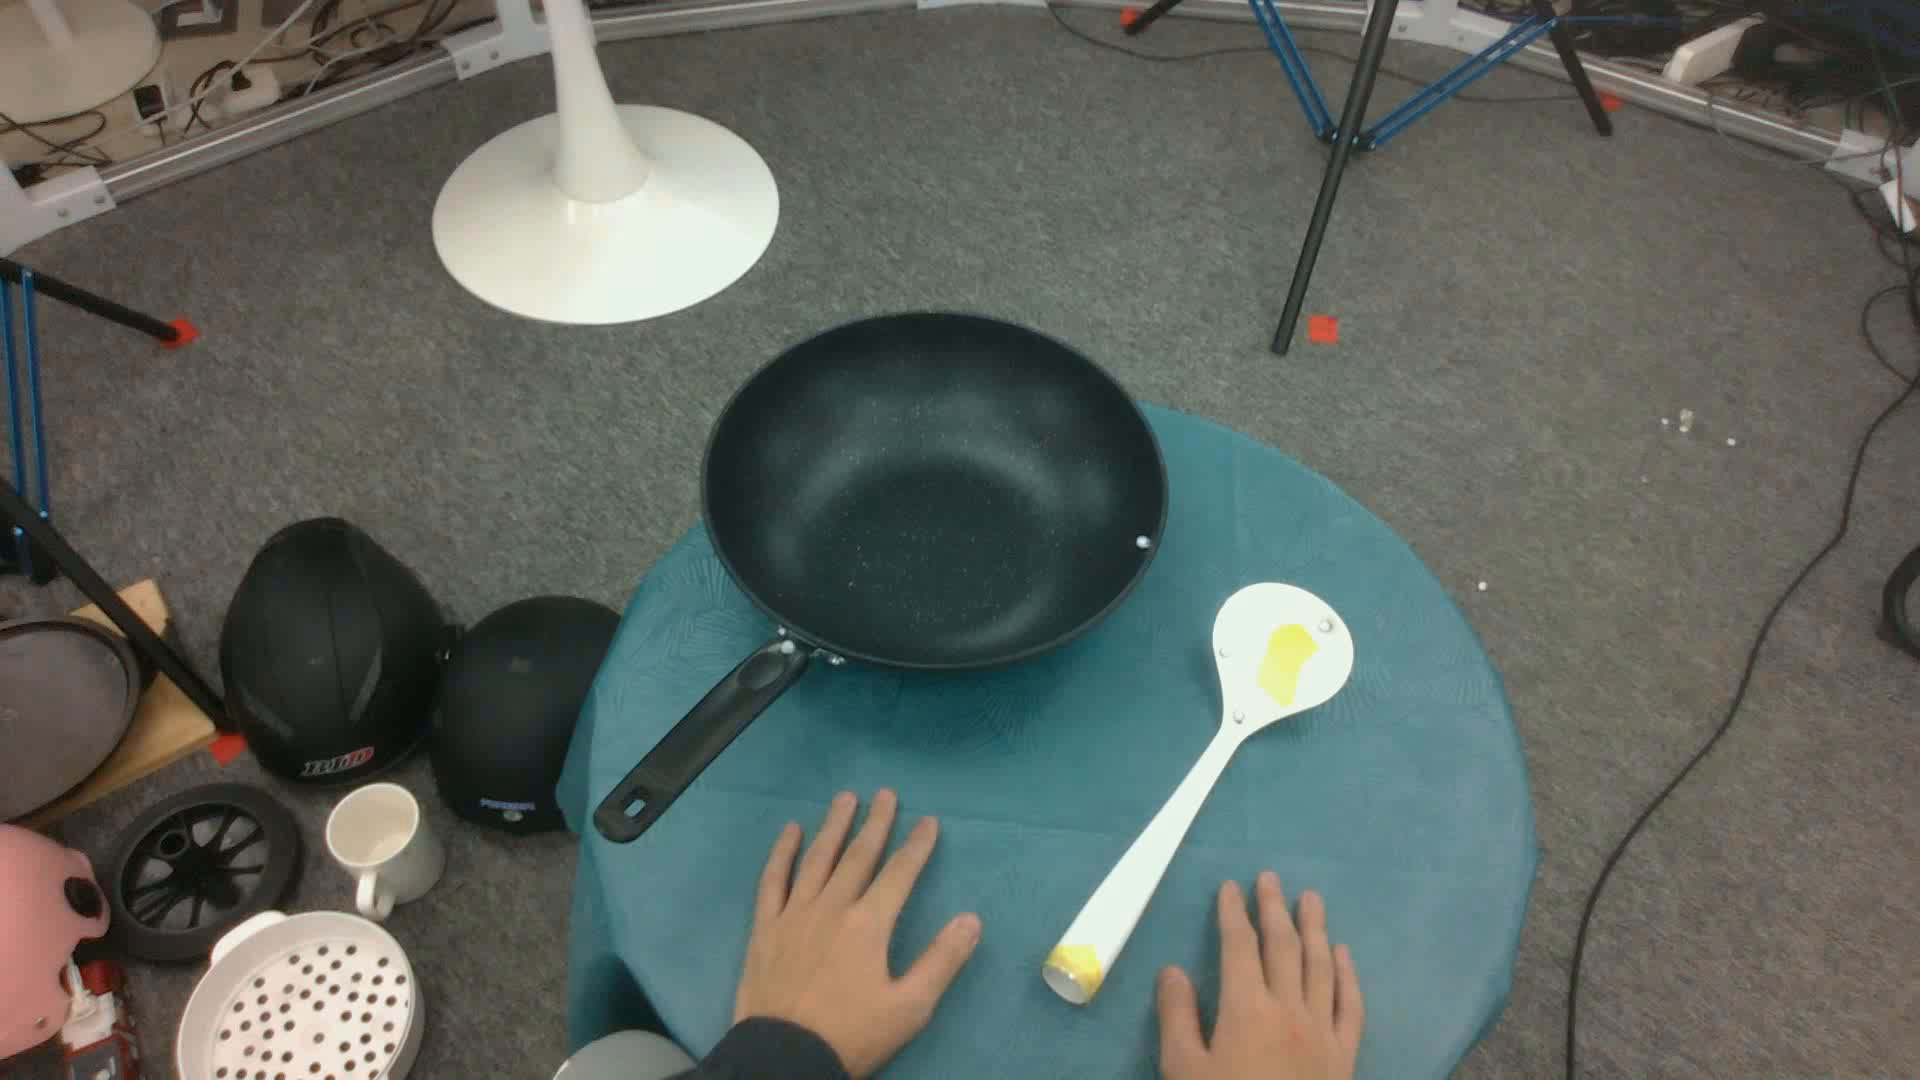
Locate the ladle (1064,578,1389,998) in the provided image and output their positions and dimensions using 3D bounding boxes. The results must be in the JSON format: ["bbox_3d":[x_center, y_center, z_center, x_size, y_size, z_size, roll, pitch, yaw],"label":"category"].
[{"bbox_3d":[0.160,0.147,0.839,0.090,0.069,0.294,33,61,18],"label":"ladle"}]

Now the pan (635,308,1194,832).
[{"bbox_3d":[-0.042,0.023,0.903,0.310,0.111,0.479,25,56,19],"label":"pan"}]
